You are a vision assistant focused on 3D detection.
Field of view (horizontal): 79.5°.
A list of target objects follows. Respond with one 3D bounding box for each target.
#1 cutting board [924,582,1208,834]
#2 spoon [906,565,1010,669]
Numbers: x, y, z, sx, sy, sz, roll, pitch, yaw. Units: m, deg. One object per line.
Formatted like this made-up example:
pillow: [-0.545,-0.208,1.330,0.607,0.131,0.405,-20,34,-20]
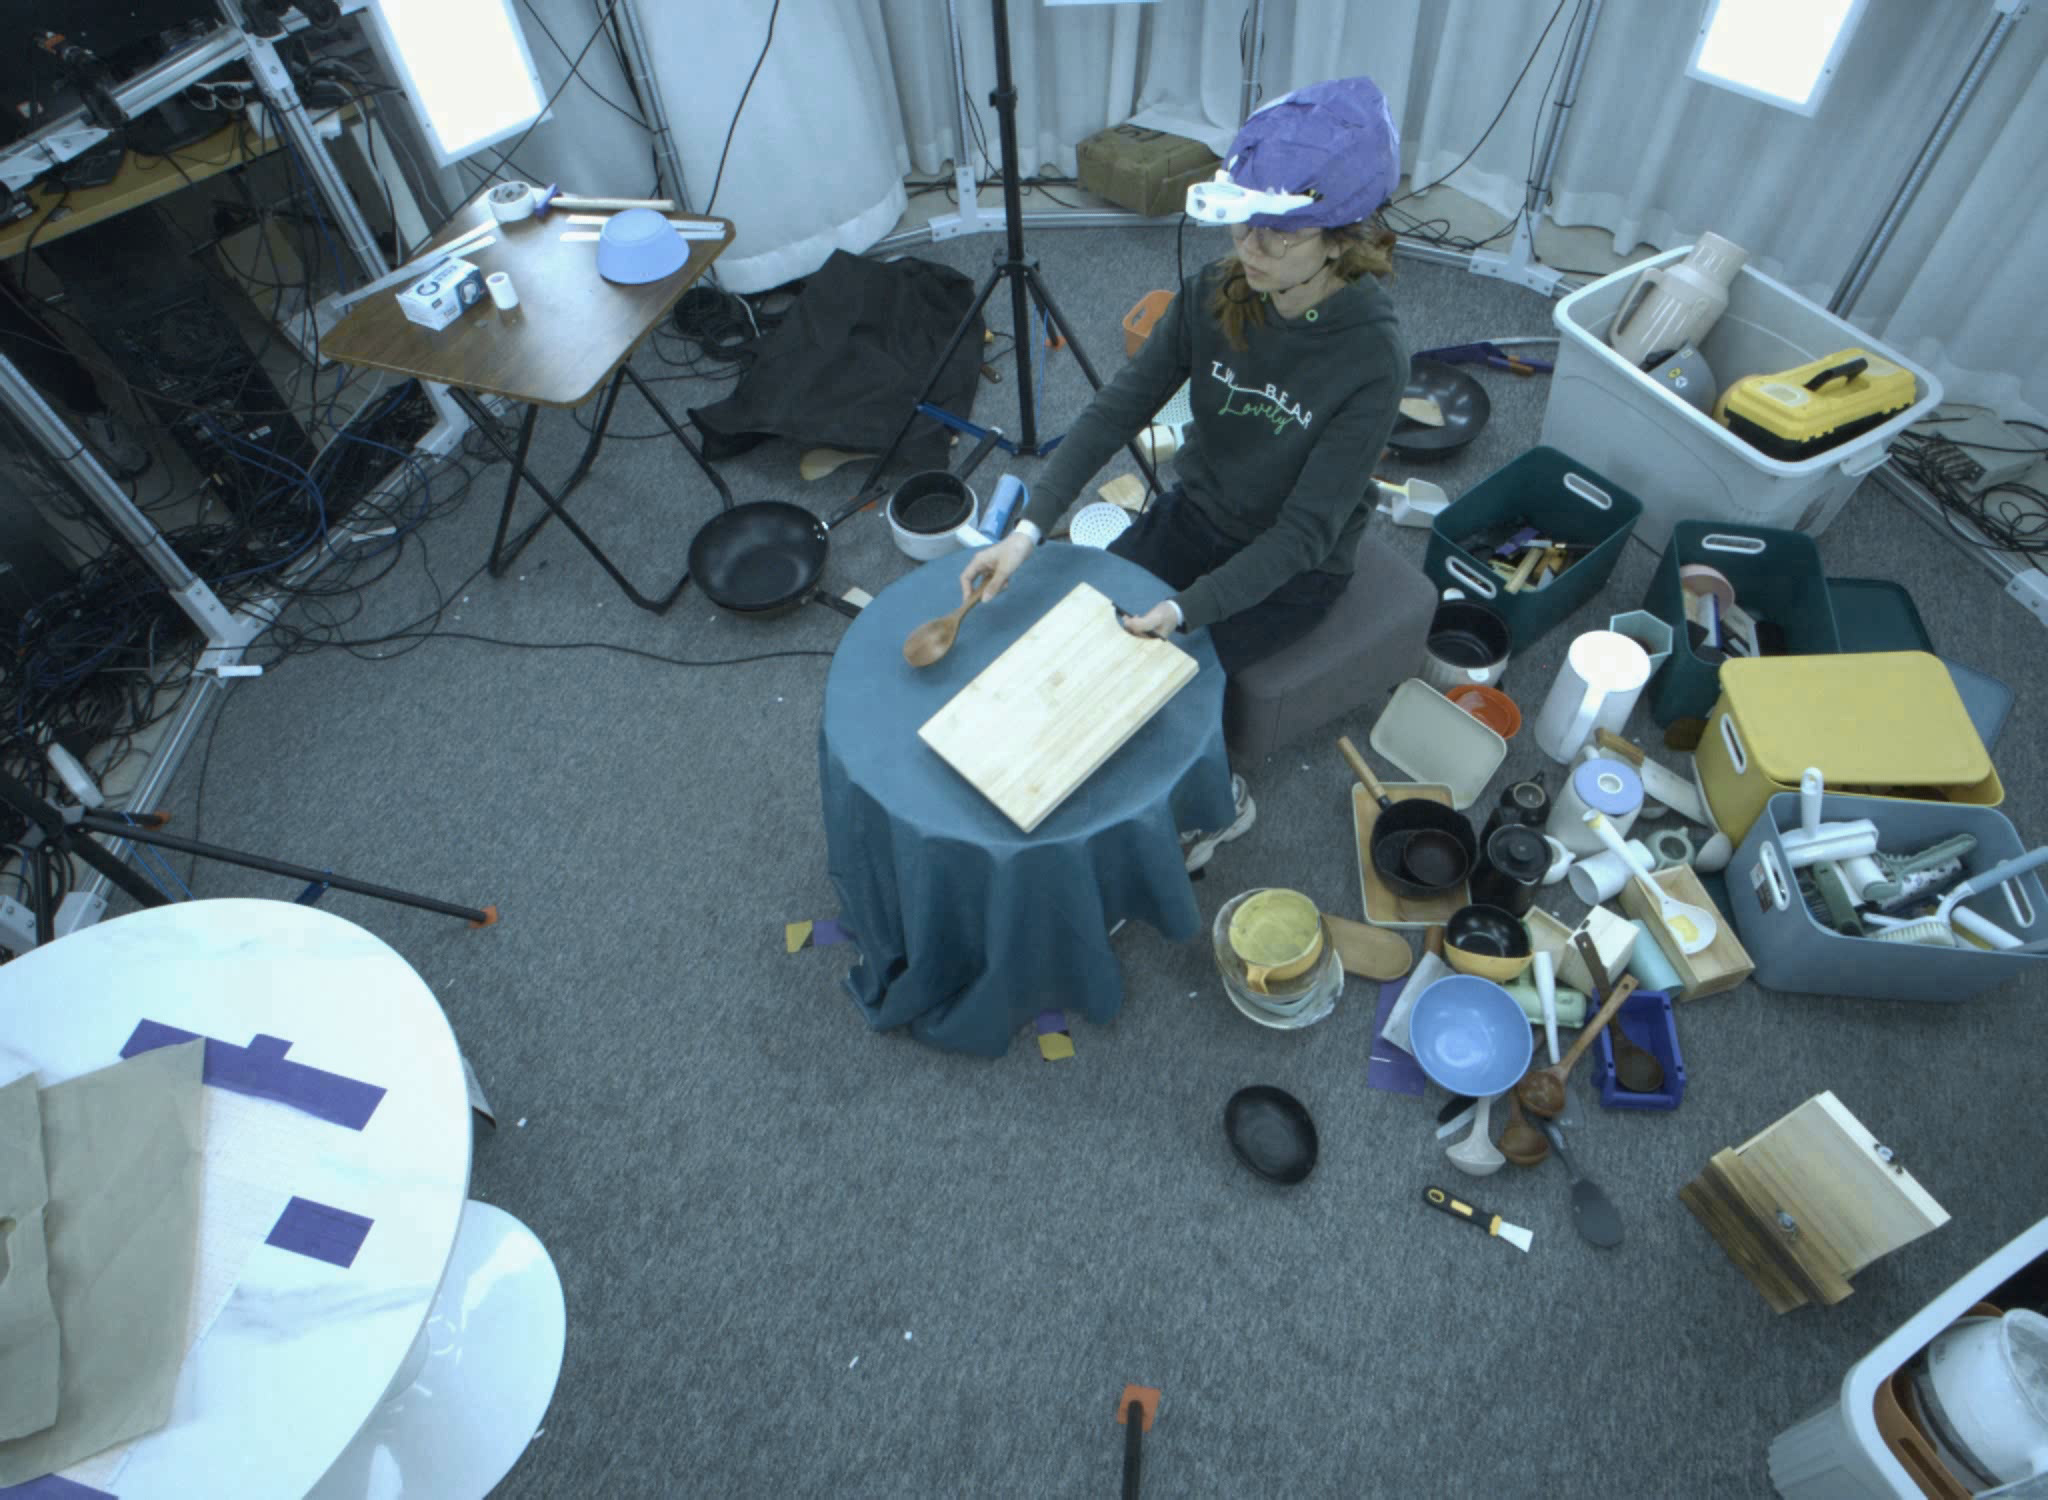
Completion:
cutting board: [0.055,-0.069,1.759,0.350,0.024,0.246,-44,61,-12]
spoon: [-0.098,-0.203,1.878,0.074,0.017,0.216,34,76,33]
